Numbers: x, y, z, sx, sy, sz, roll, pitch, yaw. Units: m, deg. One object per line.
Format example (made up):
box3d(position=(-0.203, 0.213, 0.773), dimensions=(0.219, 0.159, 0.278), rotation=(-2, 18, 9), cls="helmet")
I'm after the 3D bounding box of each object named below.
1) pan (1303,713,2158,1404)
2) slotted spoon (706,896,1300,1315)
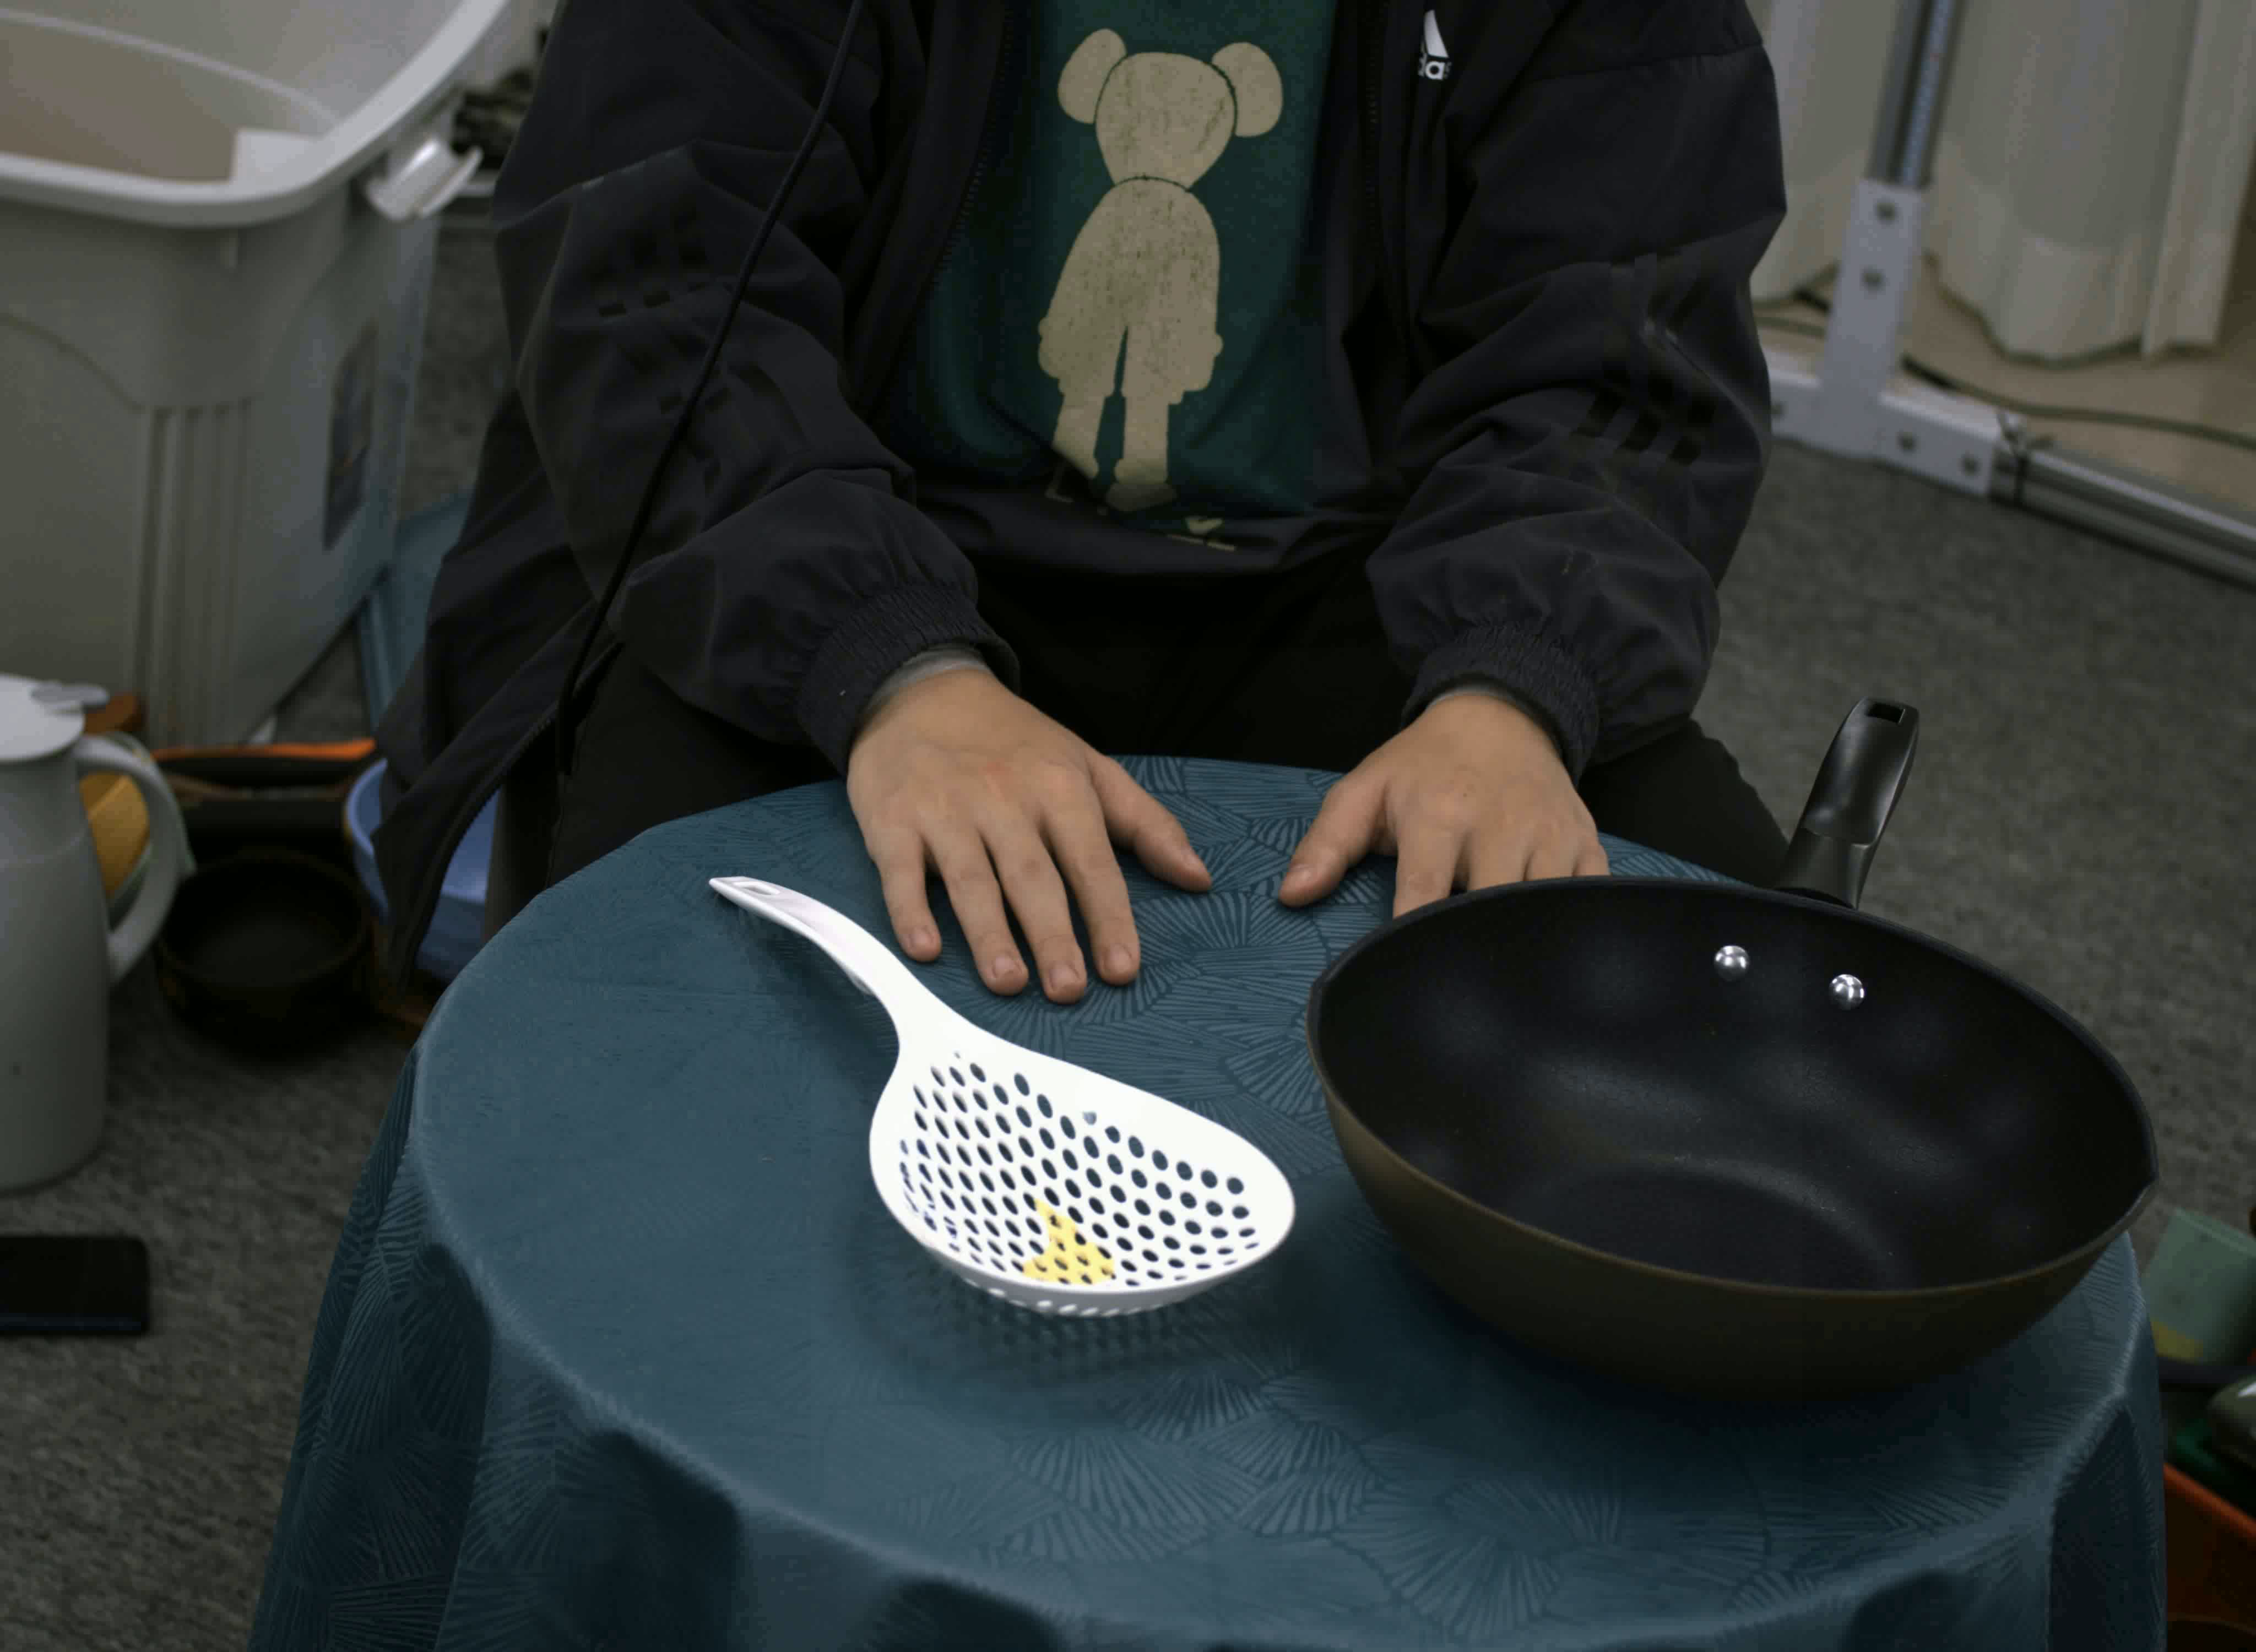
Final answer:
box3d(position=(0.221, 0.078, 1.852), dimensions=(0.288, 0.086, 0.464), rotation=(13, 26, 13), cls="pan")
box3d(position=(-0.064, 0.083, 1.826), dimensions=(0.136, 0.050, 0.351), rotation=(-9, 31, -25), cls="slotted spoon")
